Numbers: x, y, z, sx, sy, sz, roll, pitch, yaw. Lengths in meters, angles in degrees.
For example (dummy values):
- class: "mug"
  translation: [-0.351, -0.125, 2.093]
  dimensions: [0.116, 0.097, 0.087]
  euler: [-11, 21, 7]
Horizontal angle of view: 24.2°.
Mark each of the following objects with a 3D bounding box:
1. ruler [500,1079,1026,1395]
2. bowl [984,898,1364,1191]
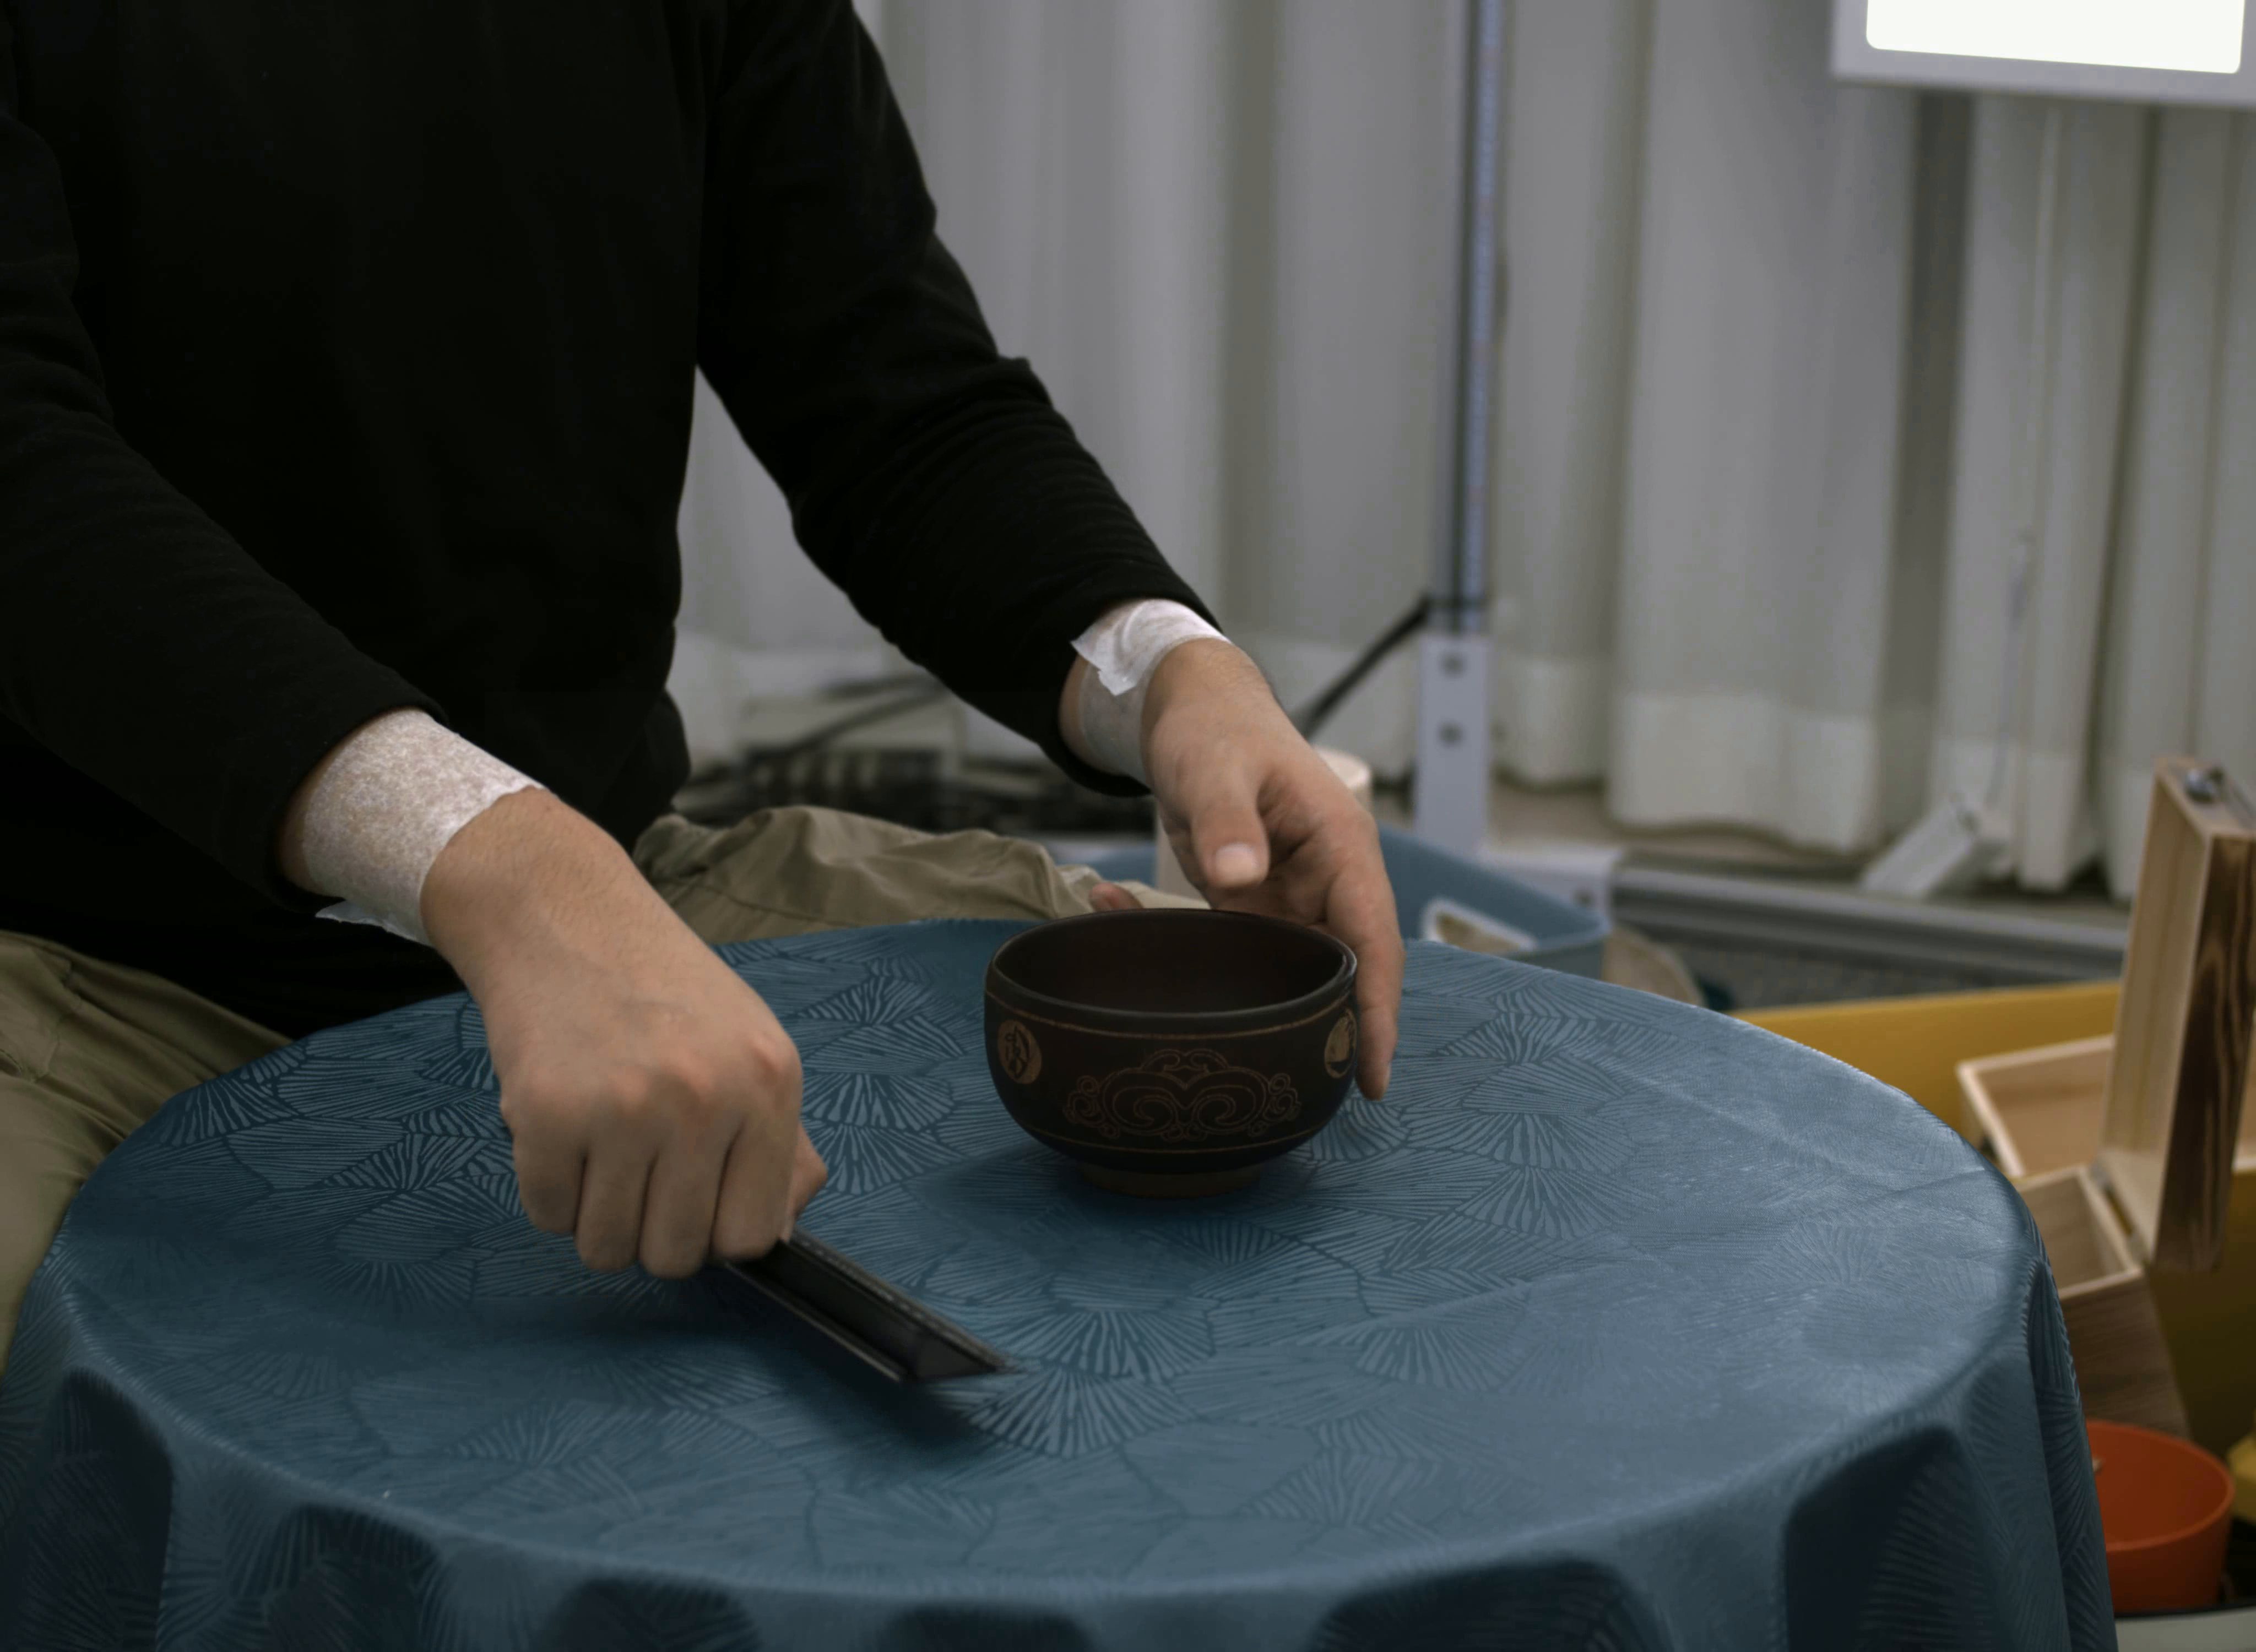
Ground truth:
- class: "ruler"
  translation: [-0.112, 0.115, 1.547]
  dimensions: [0.039, 0.017, 0.309]
  euler: [-2, 12, -28]
- class: "bowl"
  translation: [0.014, 0.071, 1.631]
  dimensions: [0.117, 0.070, 0.117]
  euler: [1, 16, 0]
